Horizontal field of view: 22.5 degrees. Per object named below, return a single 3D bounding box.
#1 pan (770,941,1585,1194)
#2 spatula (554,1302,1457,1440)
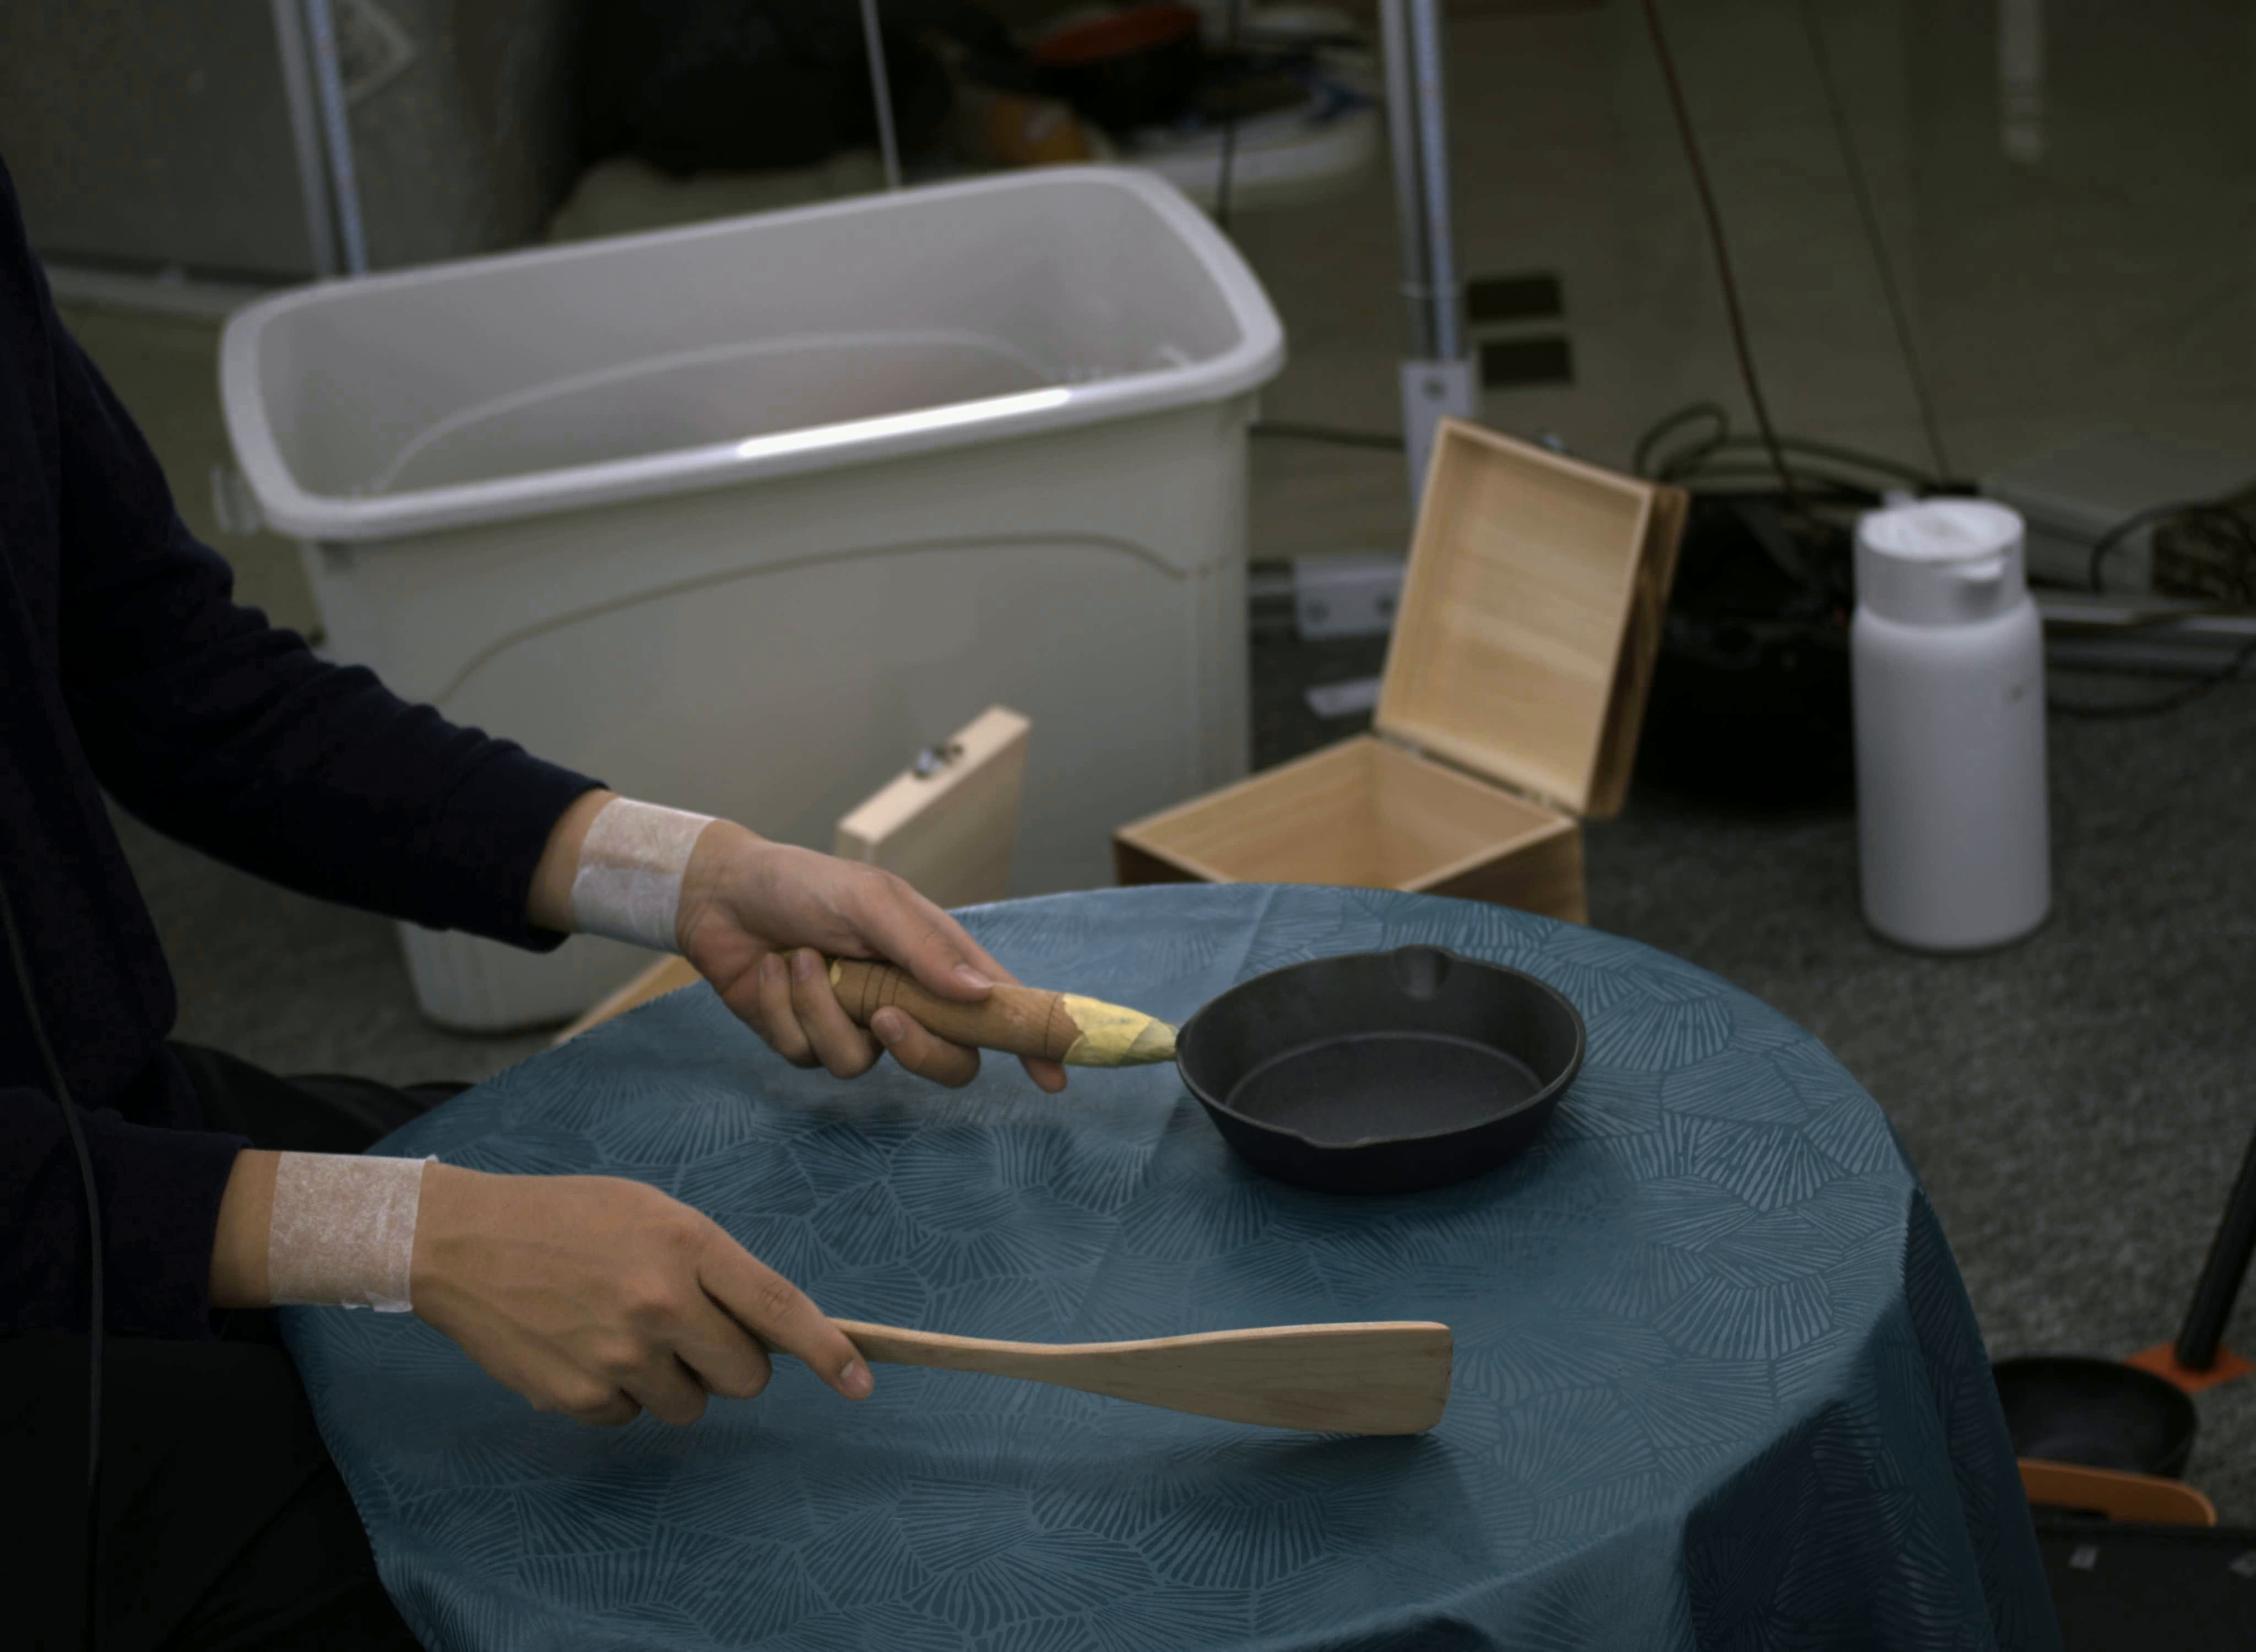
[{"bbox_3d":[0.016,0.083,2.191,0.323,0.050,0.166,5,27,17],"label":"pan"},{"bbox_3d":[-0.044,0.183,1.972,0.327,0.081,0.016,4,57,14],"label":"spatula"}]
